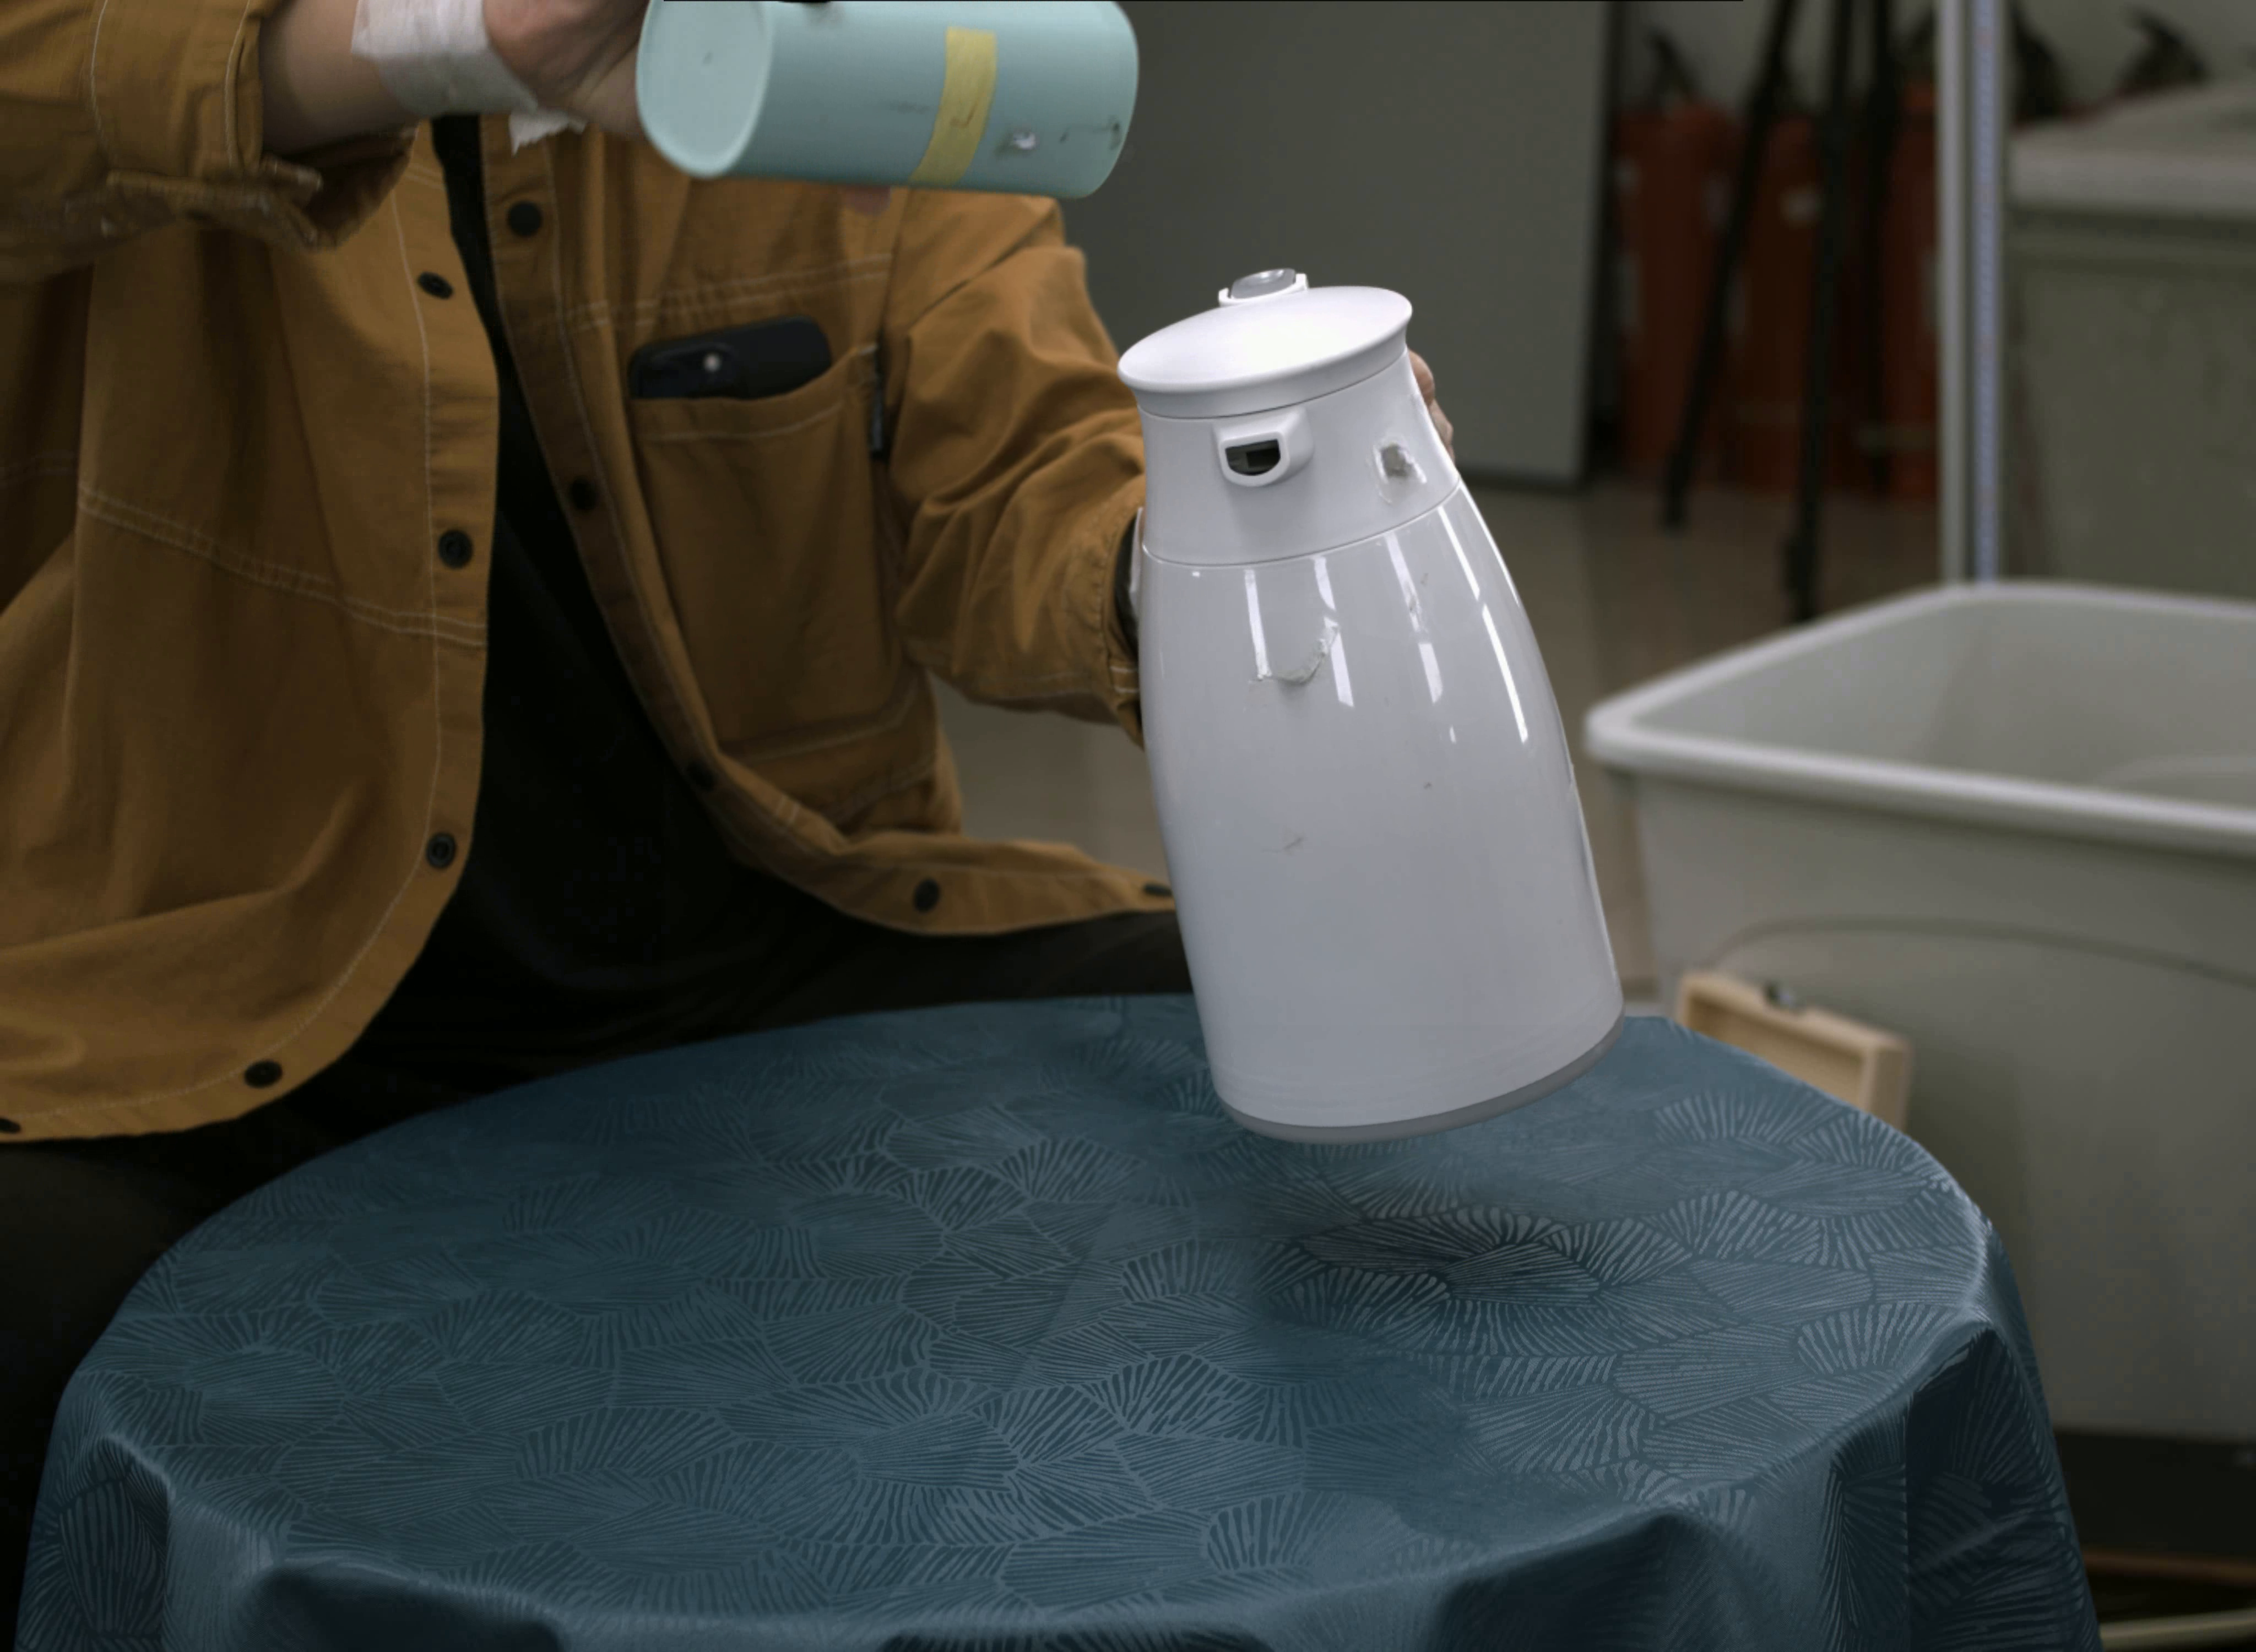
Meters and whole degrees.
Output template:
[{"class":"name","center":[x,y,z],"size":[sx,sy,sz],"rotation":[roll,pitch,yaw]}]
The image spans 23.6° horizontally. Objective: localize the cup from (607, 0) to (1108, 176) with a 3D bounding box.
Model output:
[{"class":"cup","center":[-0.075,-0.215,1.511],"size":[0.129,0.067,0.067],"rotation":[-3,10,-39]}]

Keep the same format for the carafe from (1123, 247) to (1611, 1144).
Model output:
[{"class":"carafe","center":[0.066,-0.049,1.669],"size":[0.132,0.250,0.167],"rotation":[-8,17,12]}]
